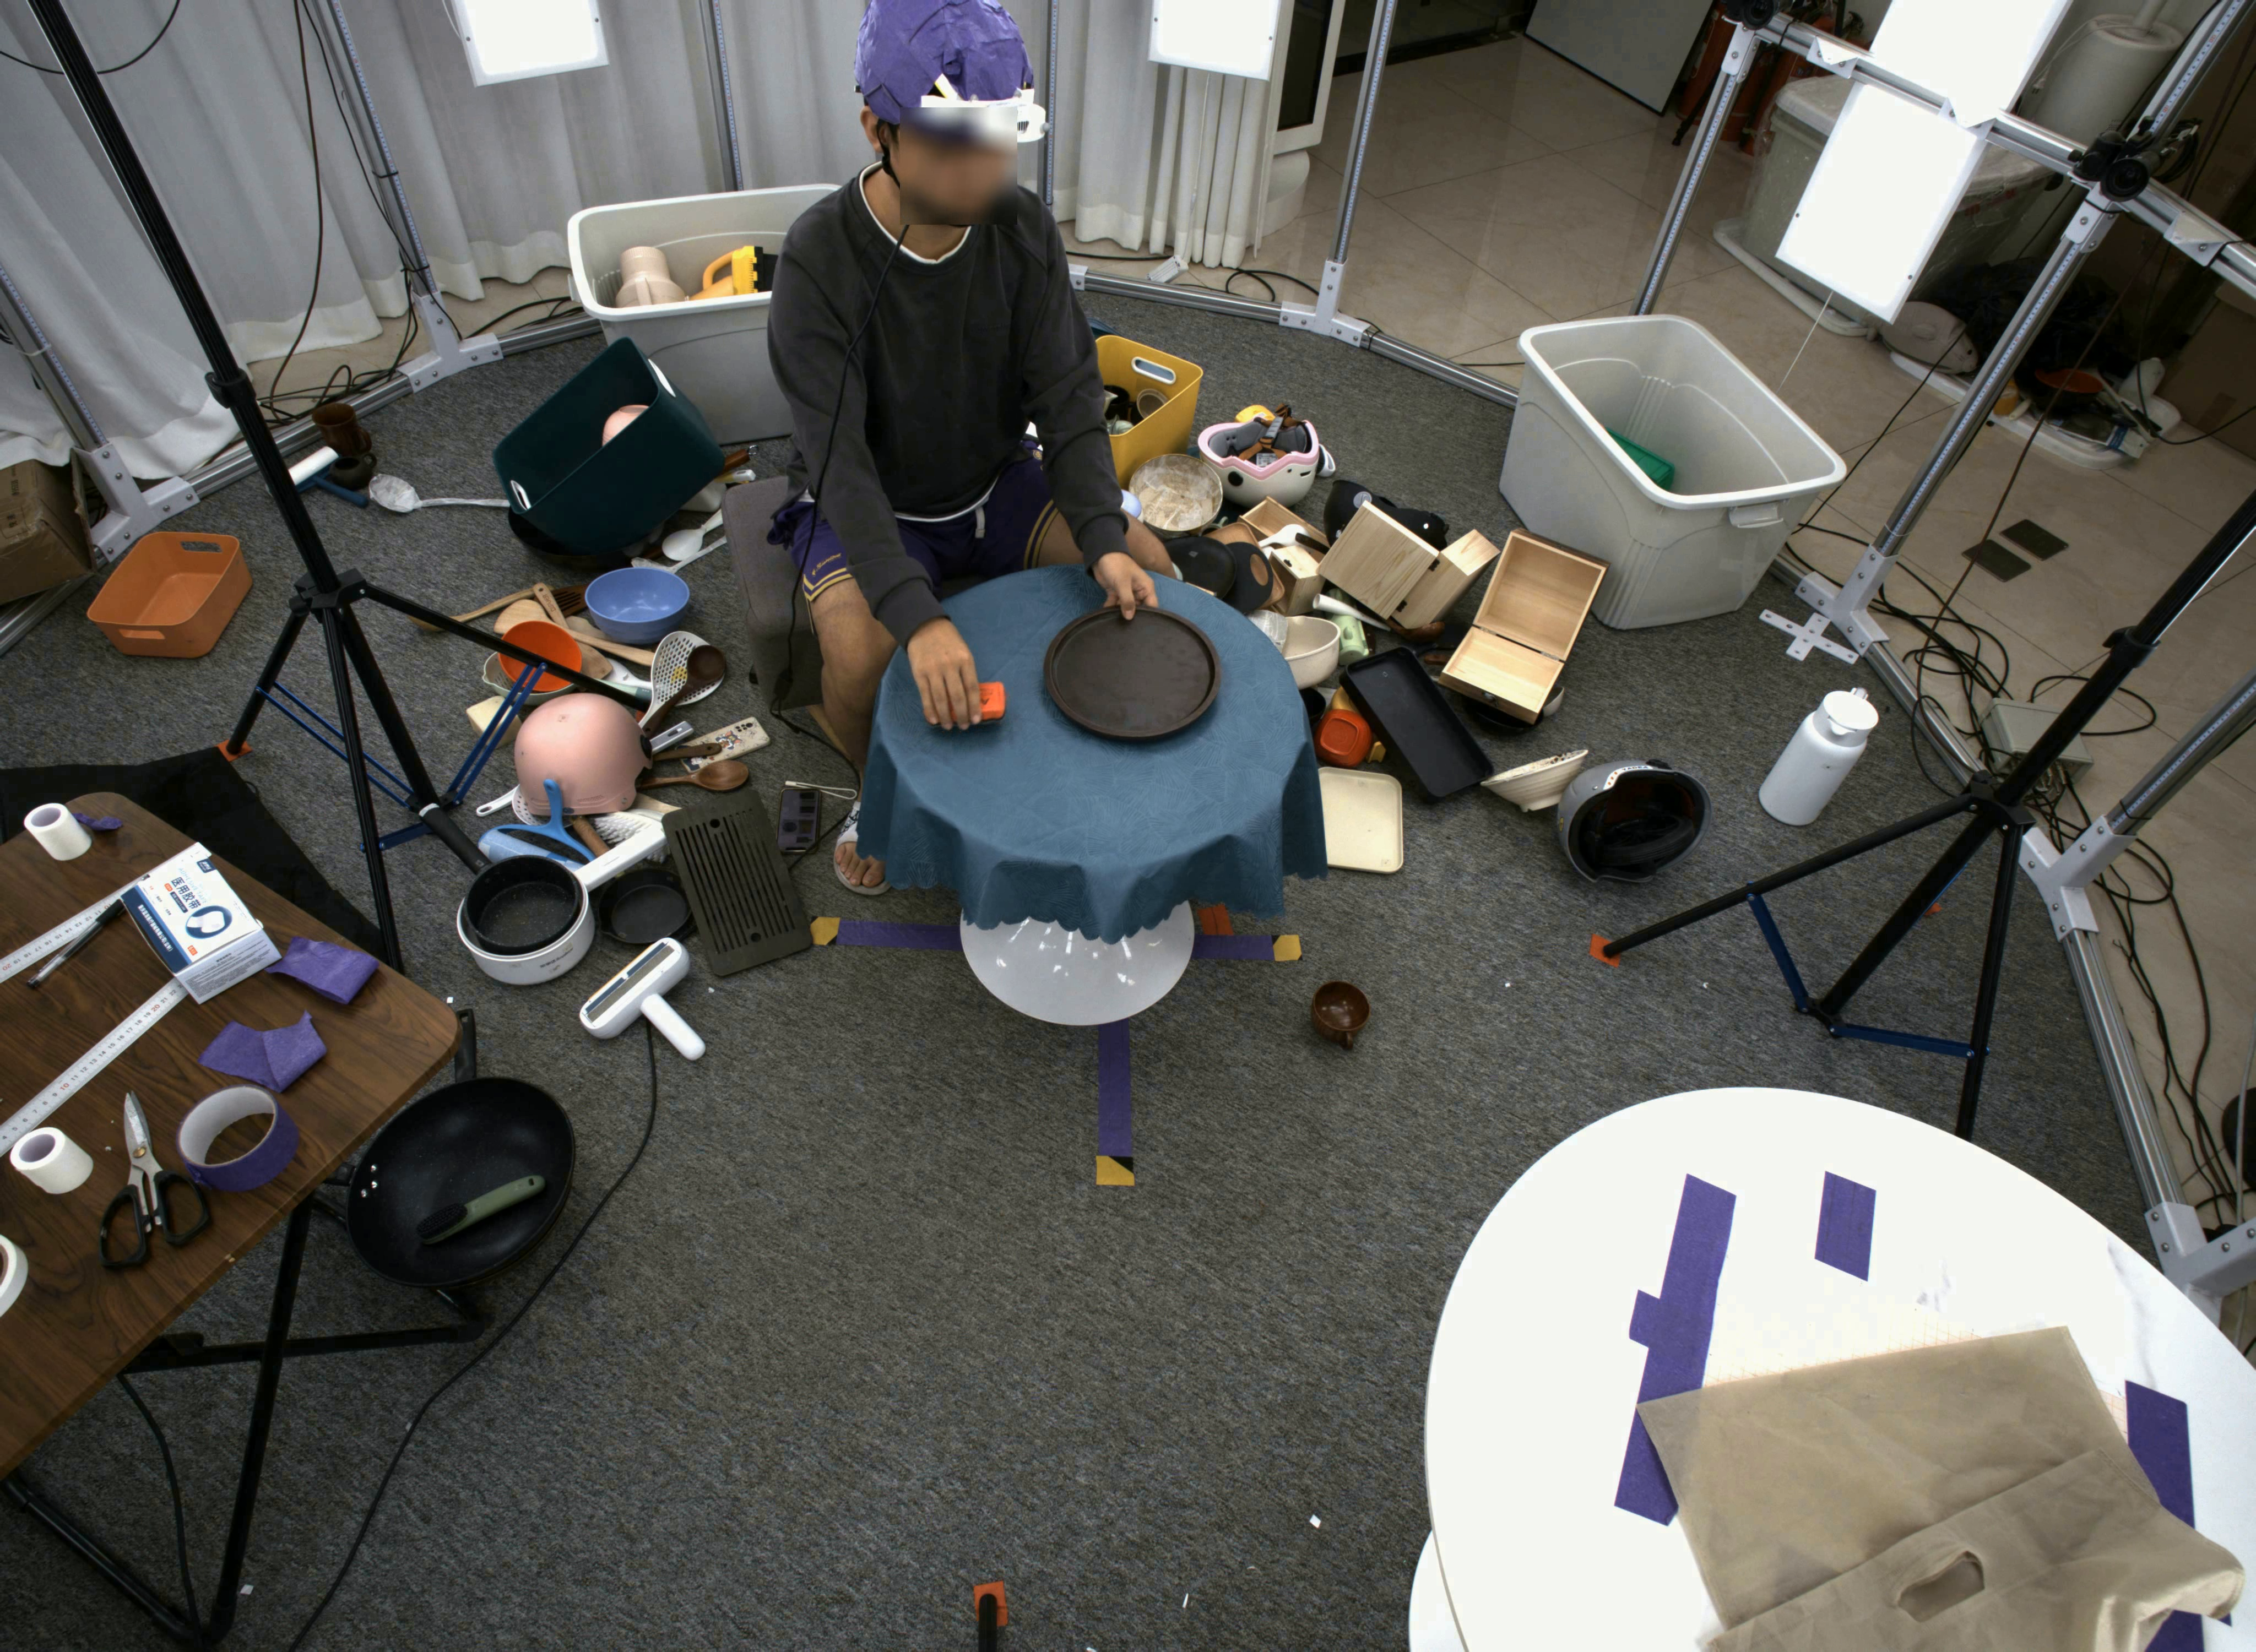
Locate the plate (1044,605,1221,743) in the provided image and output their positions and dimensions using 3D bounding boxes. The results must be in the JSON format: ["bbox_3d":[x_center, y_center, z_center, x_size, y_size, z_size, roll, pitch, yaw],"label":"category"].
[{"bbox_3d":[0.006,-0.219,1.831,0.254,0.028,0.261,0,54,0],"label":"plate"}]

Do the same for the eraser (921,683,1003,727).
[{"bbox_3d":[-0.226,-0.166,1.757,0.108,0.022,0.060,-5,46,1],"label":"eraser"}]
